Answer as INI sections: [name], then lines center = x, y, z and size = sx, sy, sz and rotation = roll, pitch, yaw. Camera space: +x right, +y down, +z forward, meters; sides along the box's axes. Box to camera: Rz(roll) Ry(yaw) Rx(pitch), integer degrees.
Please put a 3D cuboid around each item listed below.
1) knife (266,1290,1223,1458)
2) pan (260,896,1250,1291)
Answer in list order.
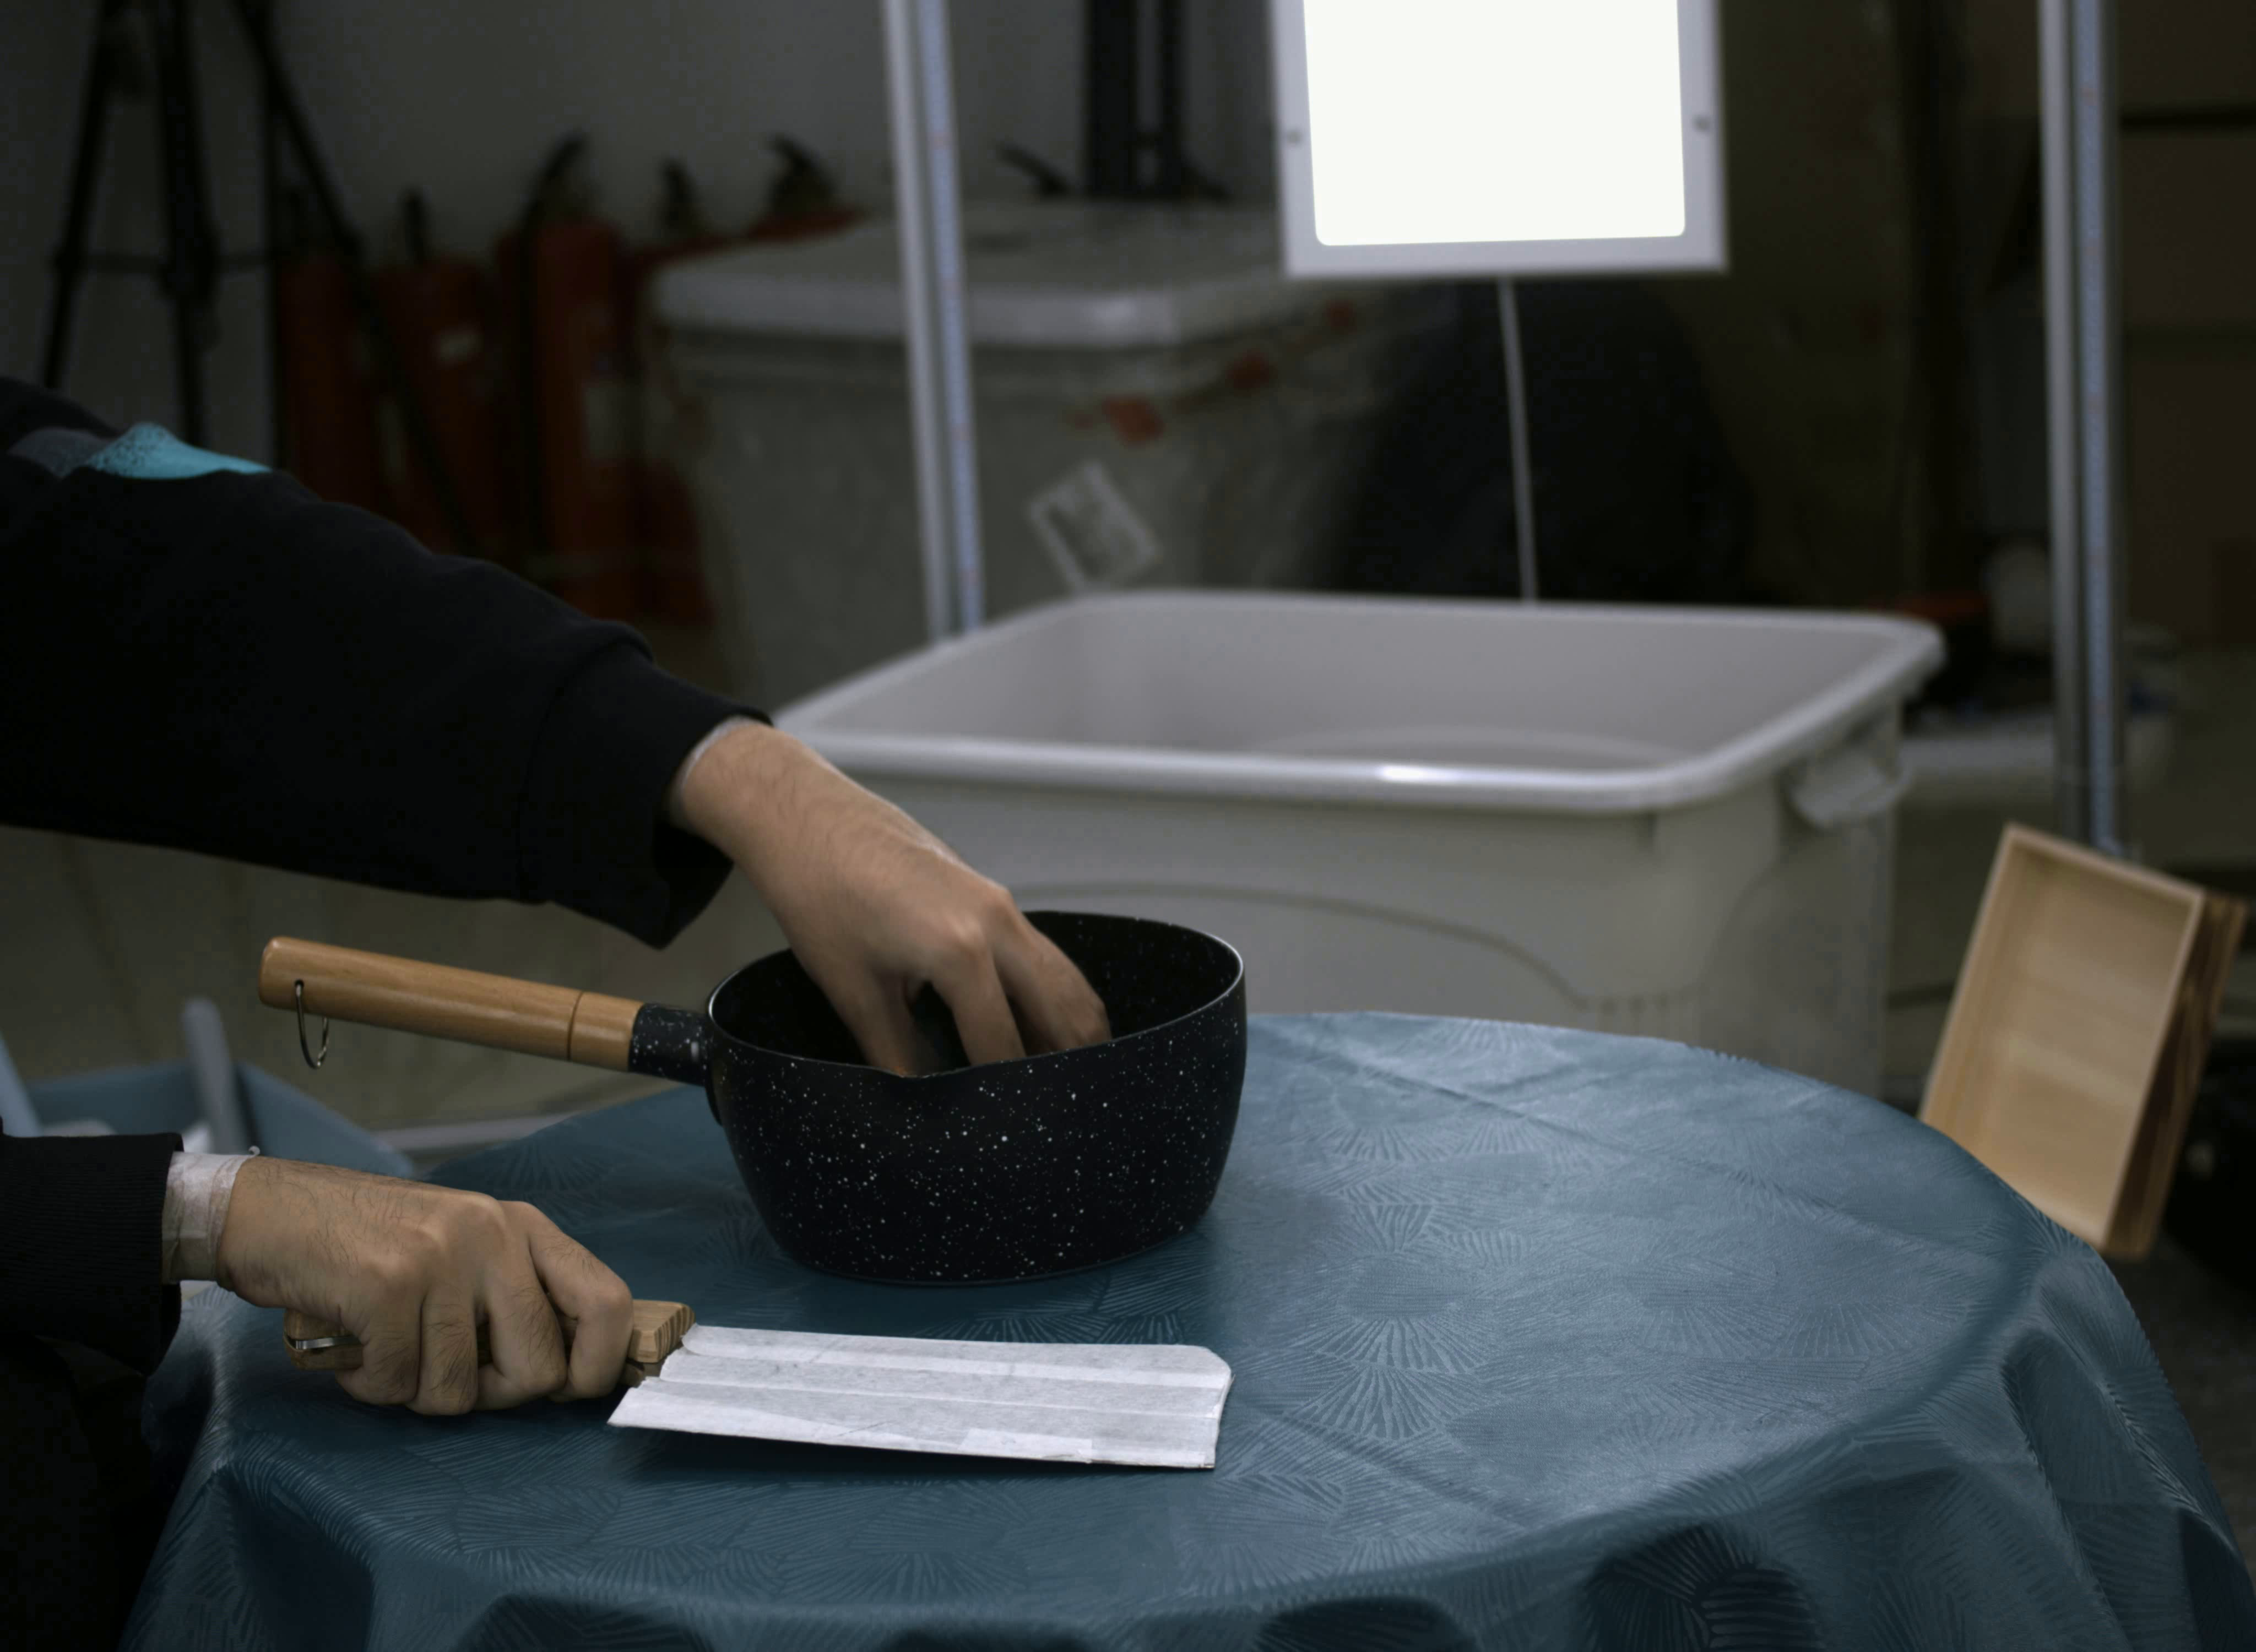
[knife]
center = -0.118, 0.169, 1.709
size = 0.318, 0.022, 0.112
rotation = 3, 15, 15
[pan]
center = -0.128, 0.085, 1.882
size = 0.344, 0.108, 0.206
rotation = -2, 15, 8
